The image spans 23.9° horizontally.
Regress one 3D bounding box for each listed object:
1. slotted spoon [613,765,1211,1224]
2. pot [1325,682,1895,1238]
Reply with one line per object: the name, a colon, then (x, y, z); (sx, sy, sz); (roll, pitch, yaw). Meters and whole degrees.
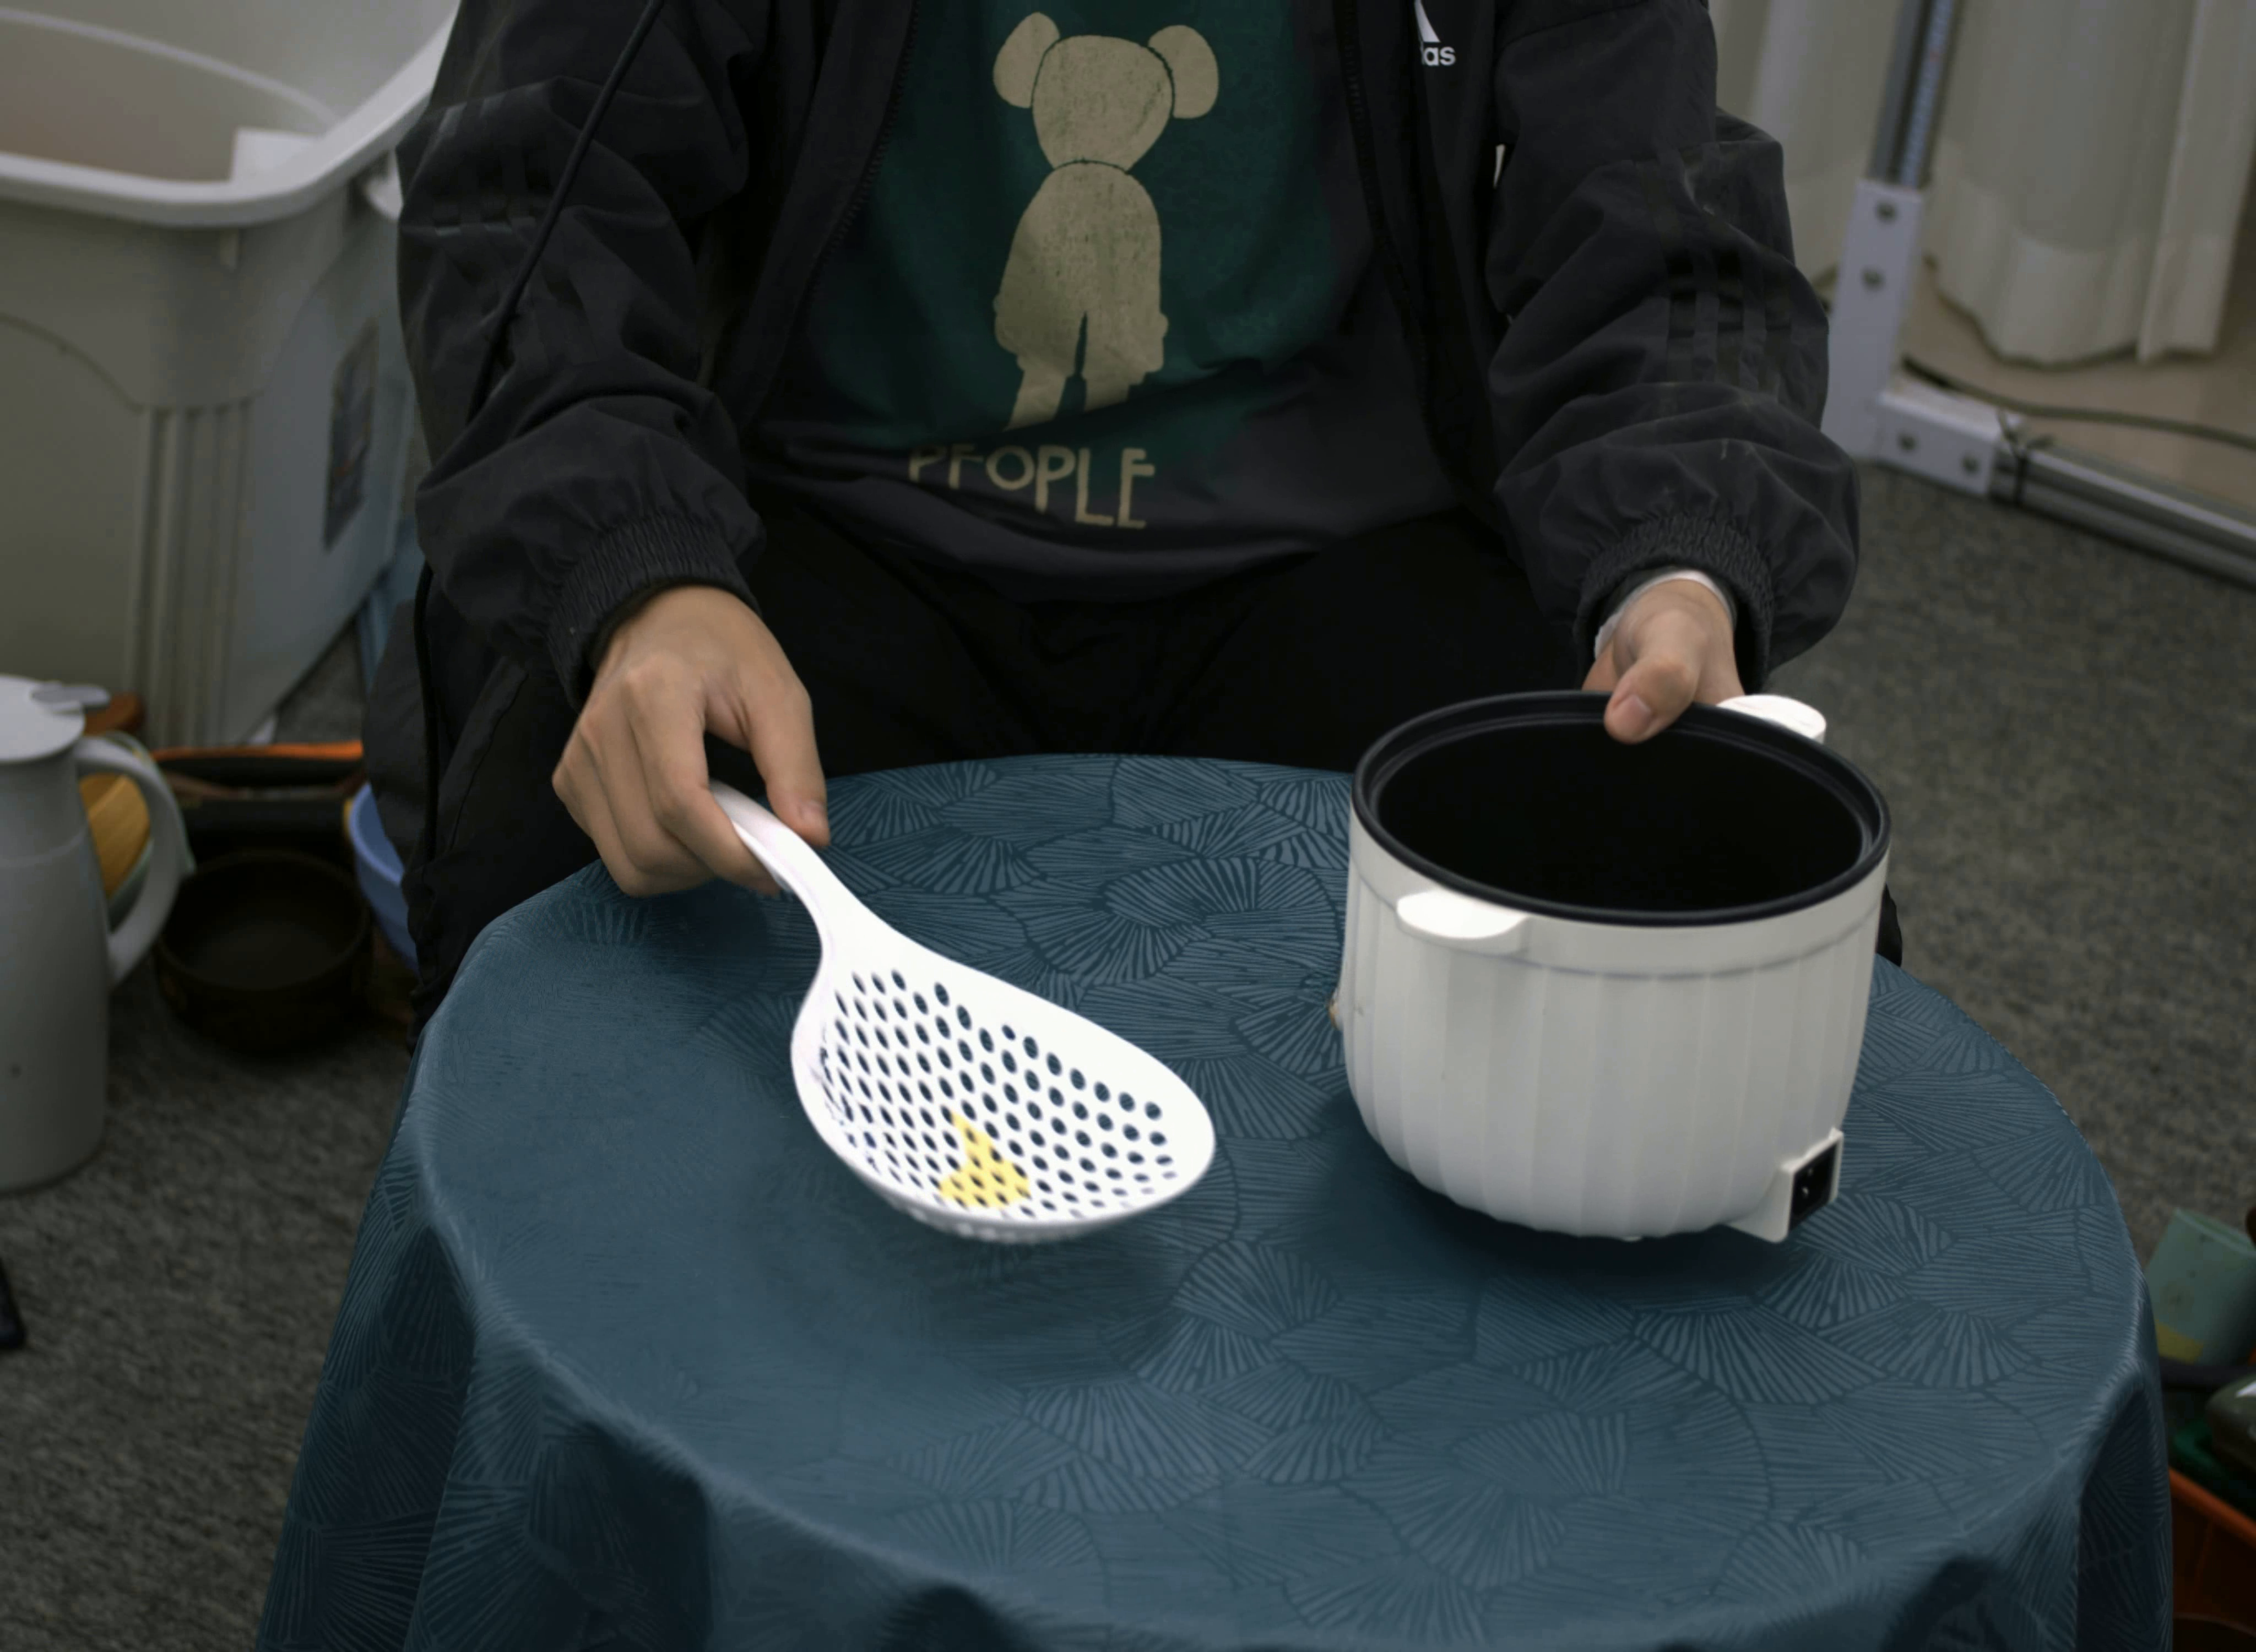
slotted spoon: (-0.095, 0.047, 1.836); (0.136, 0.050, 0.351); (-7, 34, -28)
pot: (0.157, 0.048, 1.808); (0.191, 0.142, 0.239); (22, 30, 30)
